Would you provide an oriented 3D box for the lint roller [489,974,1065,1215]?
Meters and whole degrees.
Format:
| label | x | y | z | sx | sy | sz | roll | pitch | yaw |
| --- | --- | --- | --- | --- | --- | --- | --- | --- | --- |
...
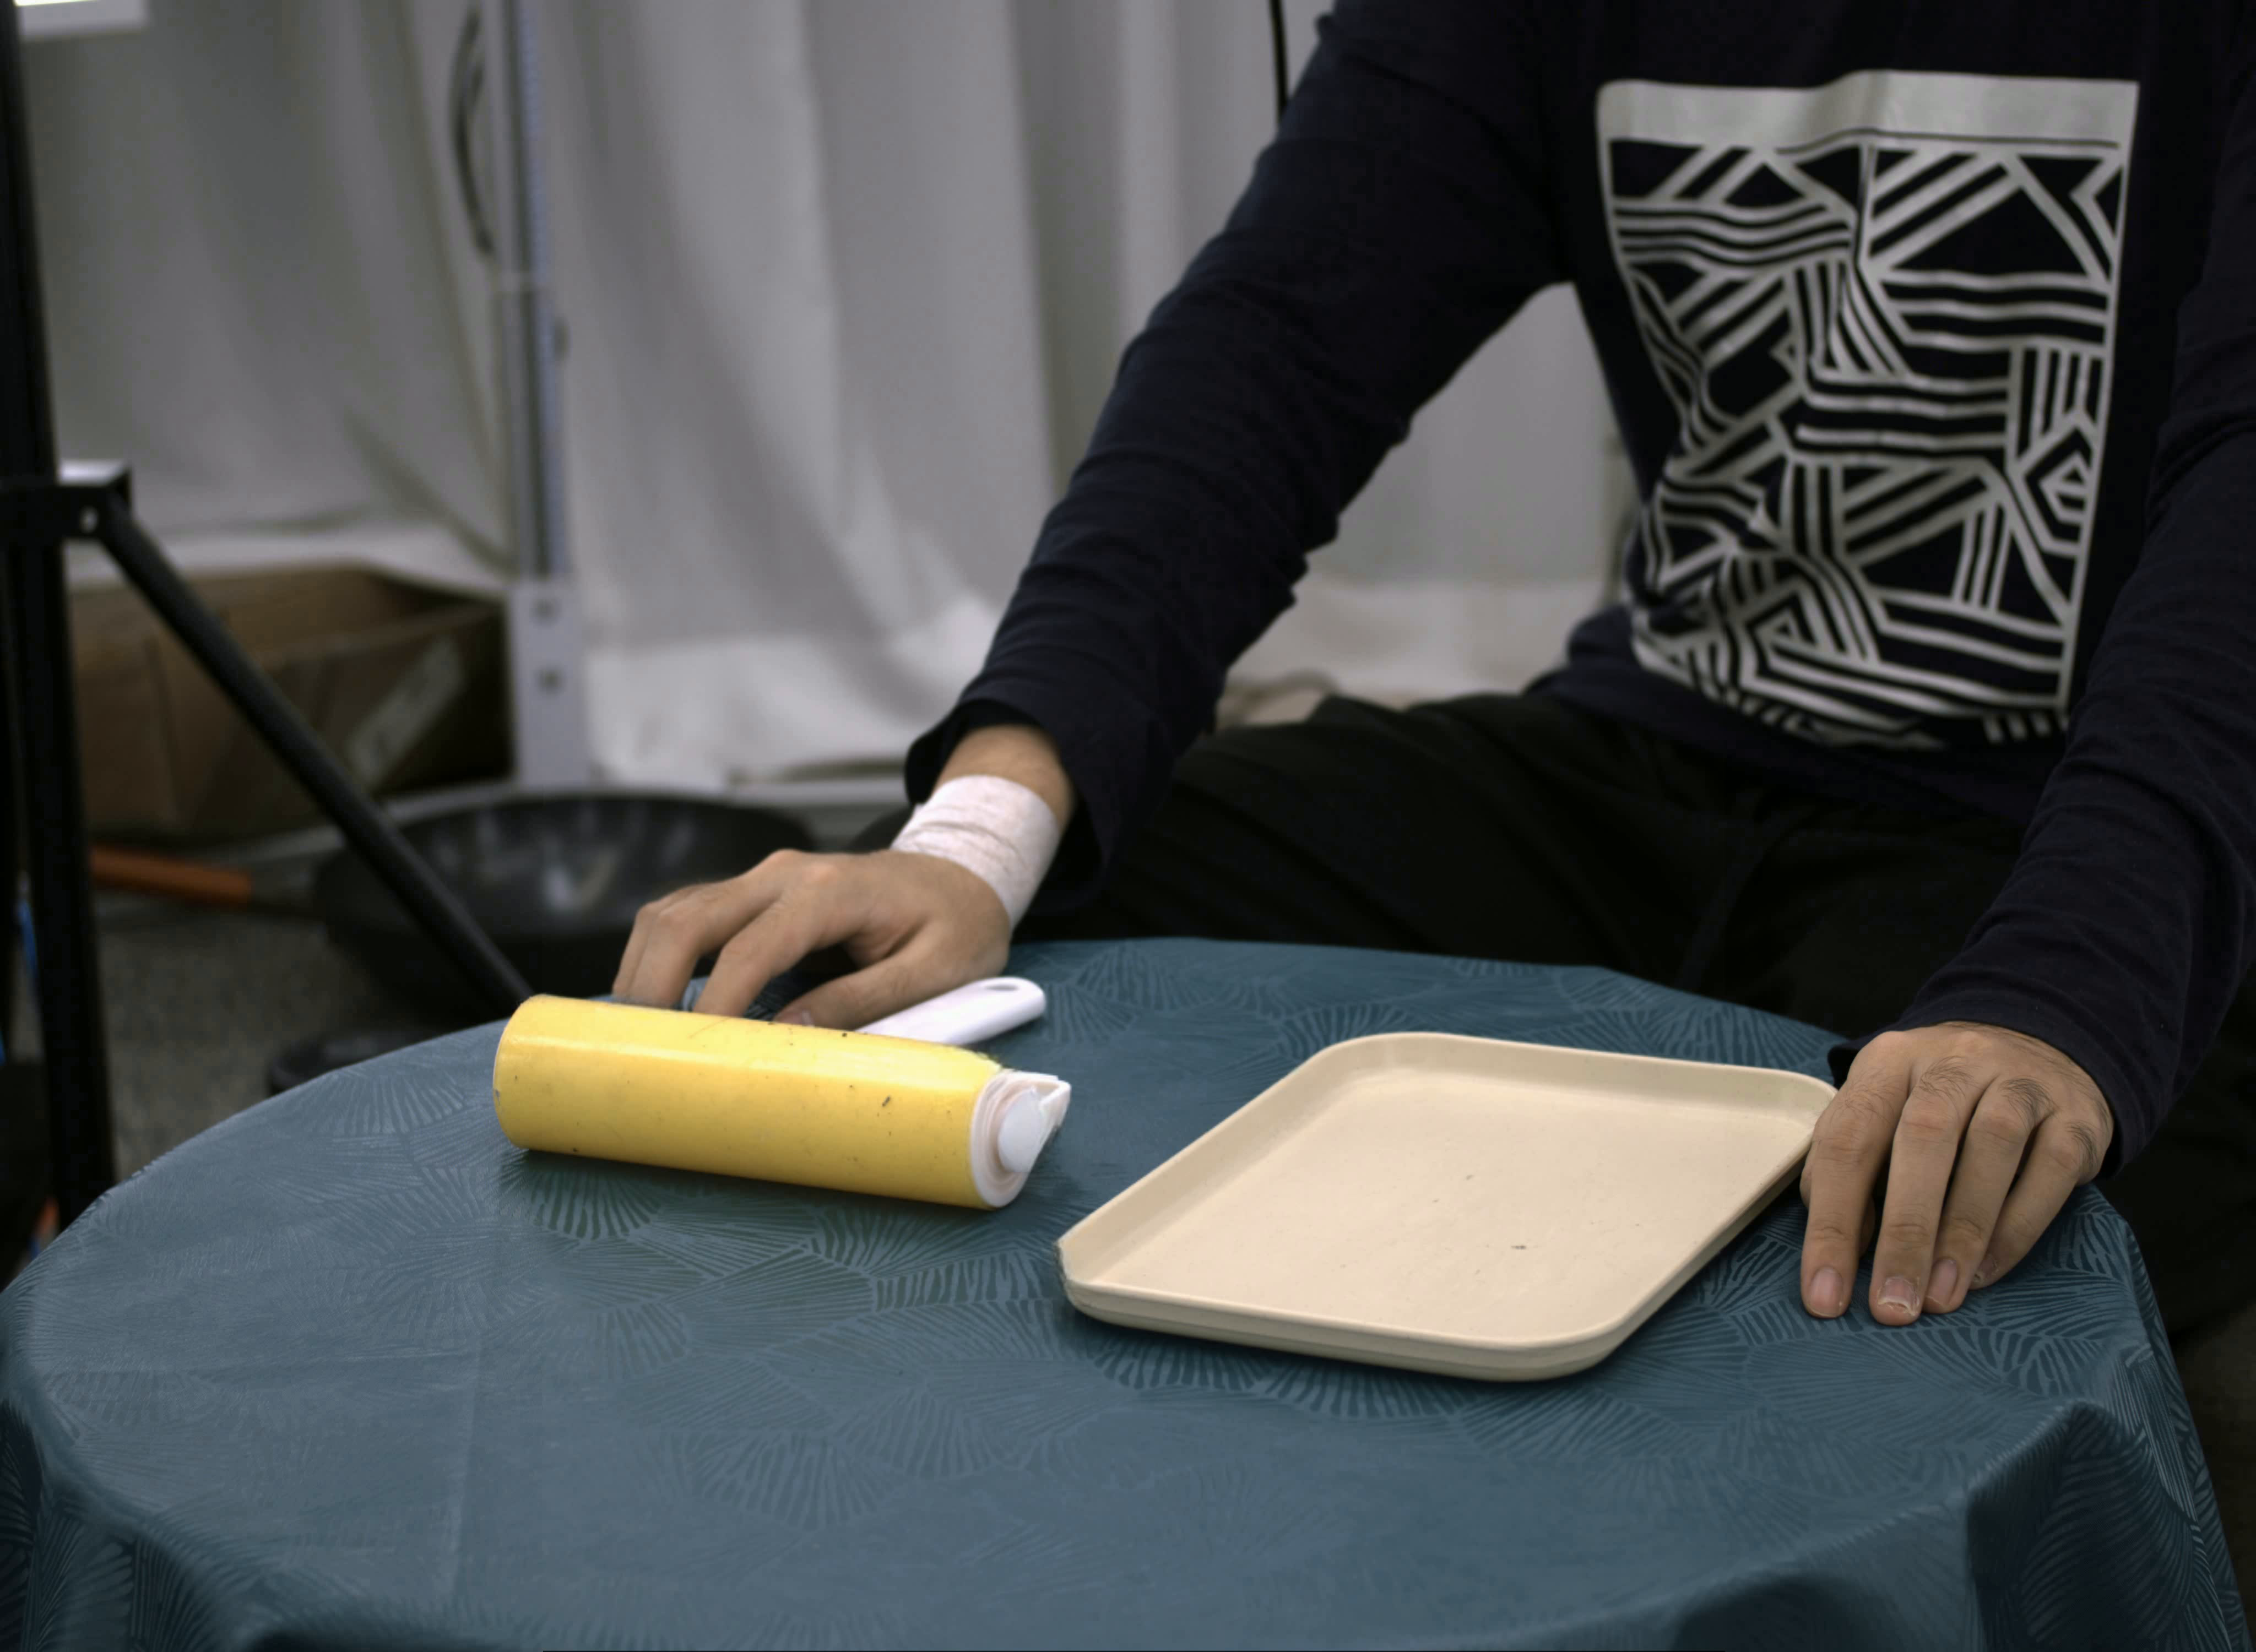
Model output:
| label | x | y | z | sx | sy | sz | roll | pitch | yaw |
| --- | --- | --- | --- | --- | --- | --- | --- | --- | --- |
| lint roller | -0.081 | 0.062 | 1.647 | 0.177 | 0.051 | 0.189 | 6 | 20 | 24 |

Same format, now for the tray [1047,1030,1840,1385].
| label | x | y | z | sx | sy | sz | roll | pitch | yaw |
| --- | --- | --- | --- | --- | --- | --- | --- | --- | --- |
| tray | 0.094 | 0.108 | 1.517 | 0.174 | 0.017 | 0.236 | 6 | 18 | 26 |
